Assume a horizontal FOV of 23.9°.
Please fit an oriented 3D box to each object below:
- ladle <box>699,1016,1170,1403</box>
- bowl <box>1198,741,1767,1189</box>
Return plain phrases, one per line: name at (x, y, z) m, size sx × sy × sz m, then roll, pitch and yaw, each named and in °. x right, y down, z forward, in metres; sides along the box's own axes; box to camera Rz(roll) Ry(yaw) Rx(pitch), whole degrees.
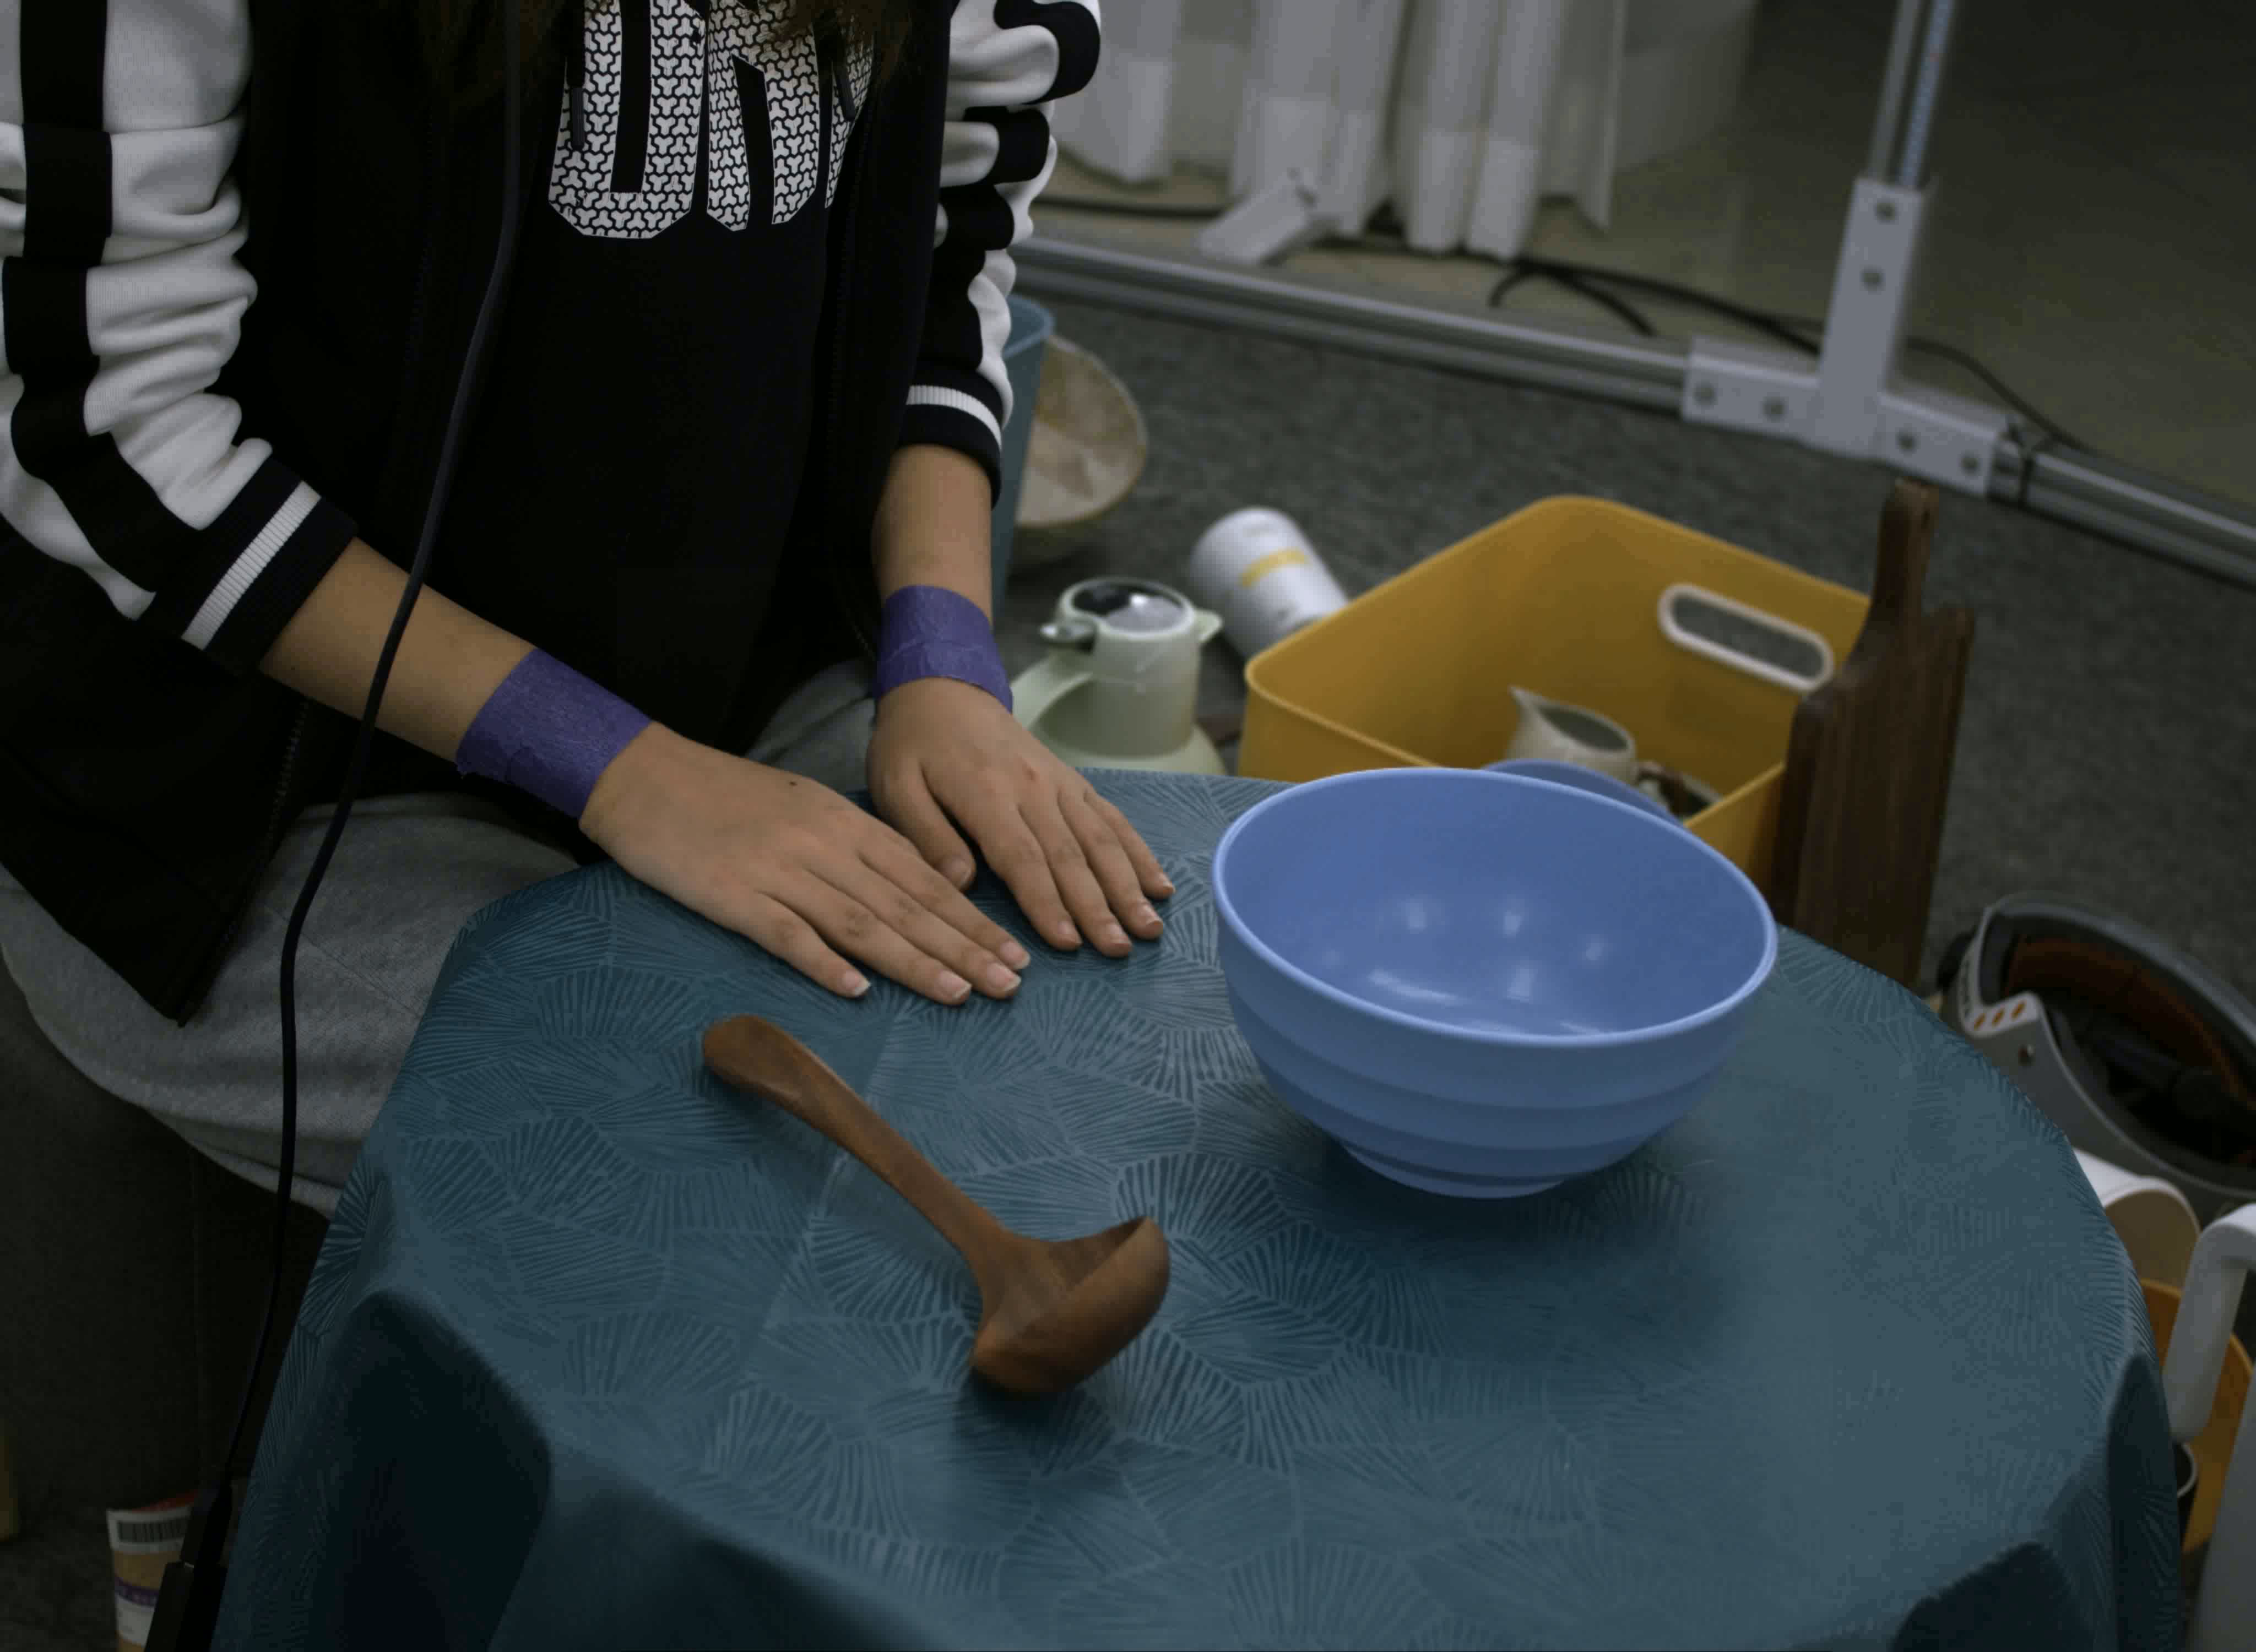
ladle at (-0.075, 0.110, 1.746) m, size 0.076 × 0.064 × 0.262 m, roll -37°, pitch 43°, yaw -16°
bowl at (0.118, 0.061, 1.847) m, size 0.196 × 0.095 × 0.198 m, roll 3°, pitch 33°, yaw -2°
